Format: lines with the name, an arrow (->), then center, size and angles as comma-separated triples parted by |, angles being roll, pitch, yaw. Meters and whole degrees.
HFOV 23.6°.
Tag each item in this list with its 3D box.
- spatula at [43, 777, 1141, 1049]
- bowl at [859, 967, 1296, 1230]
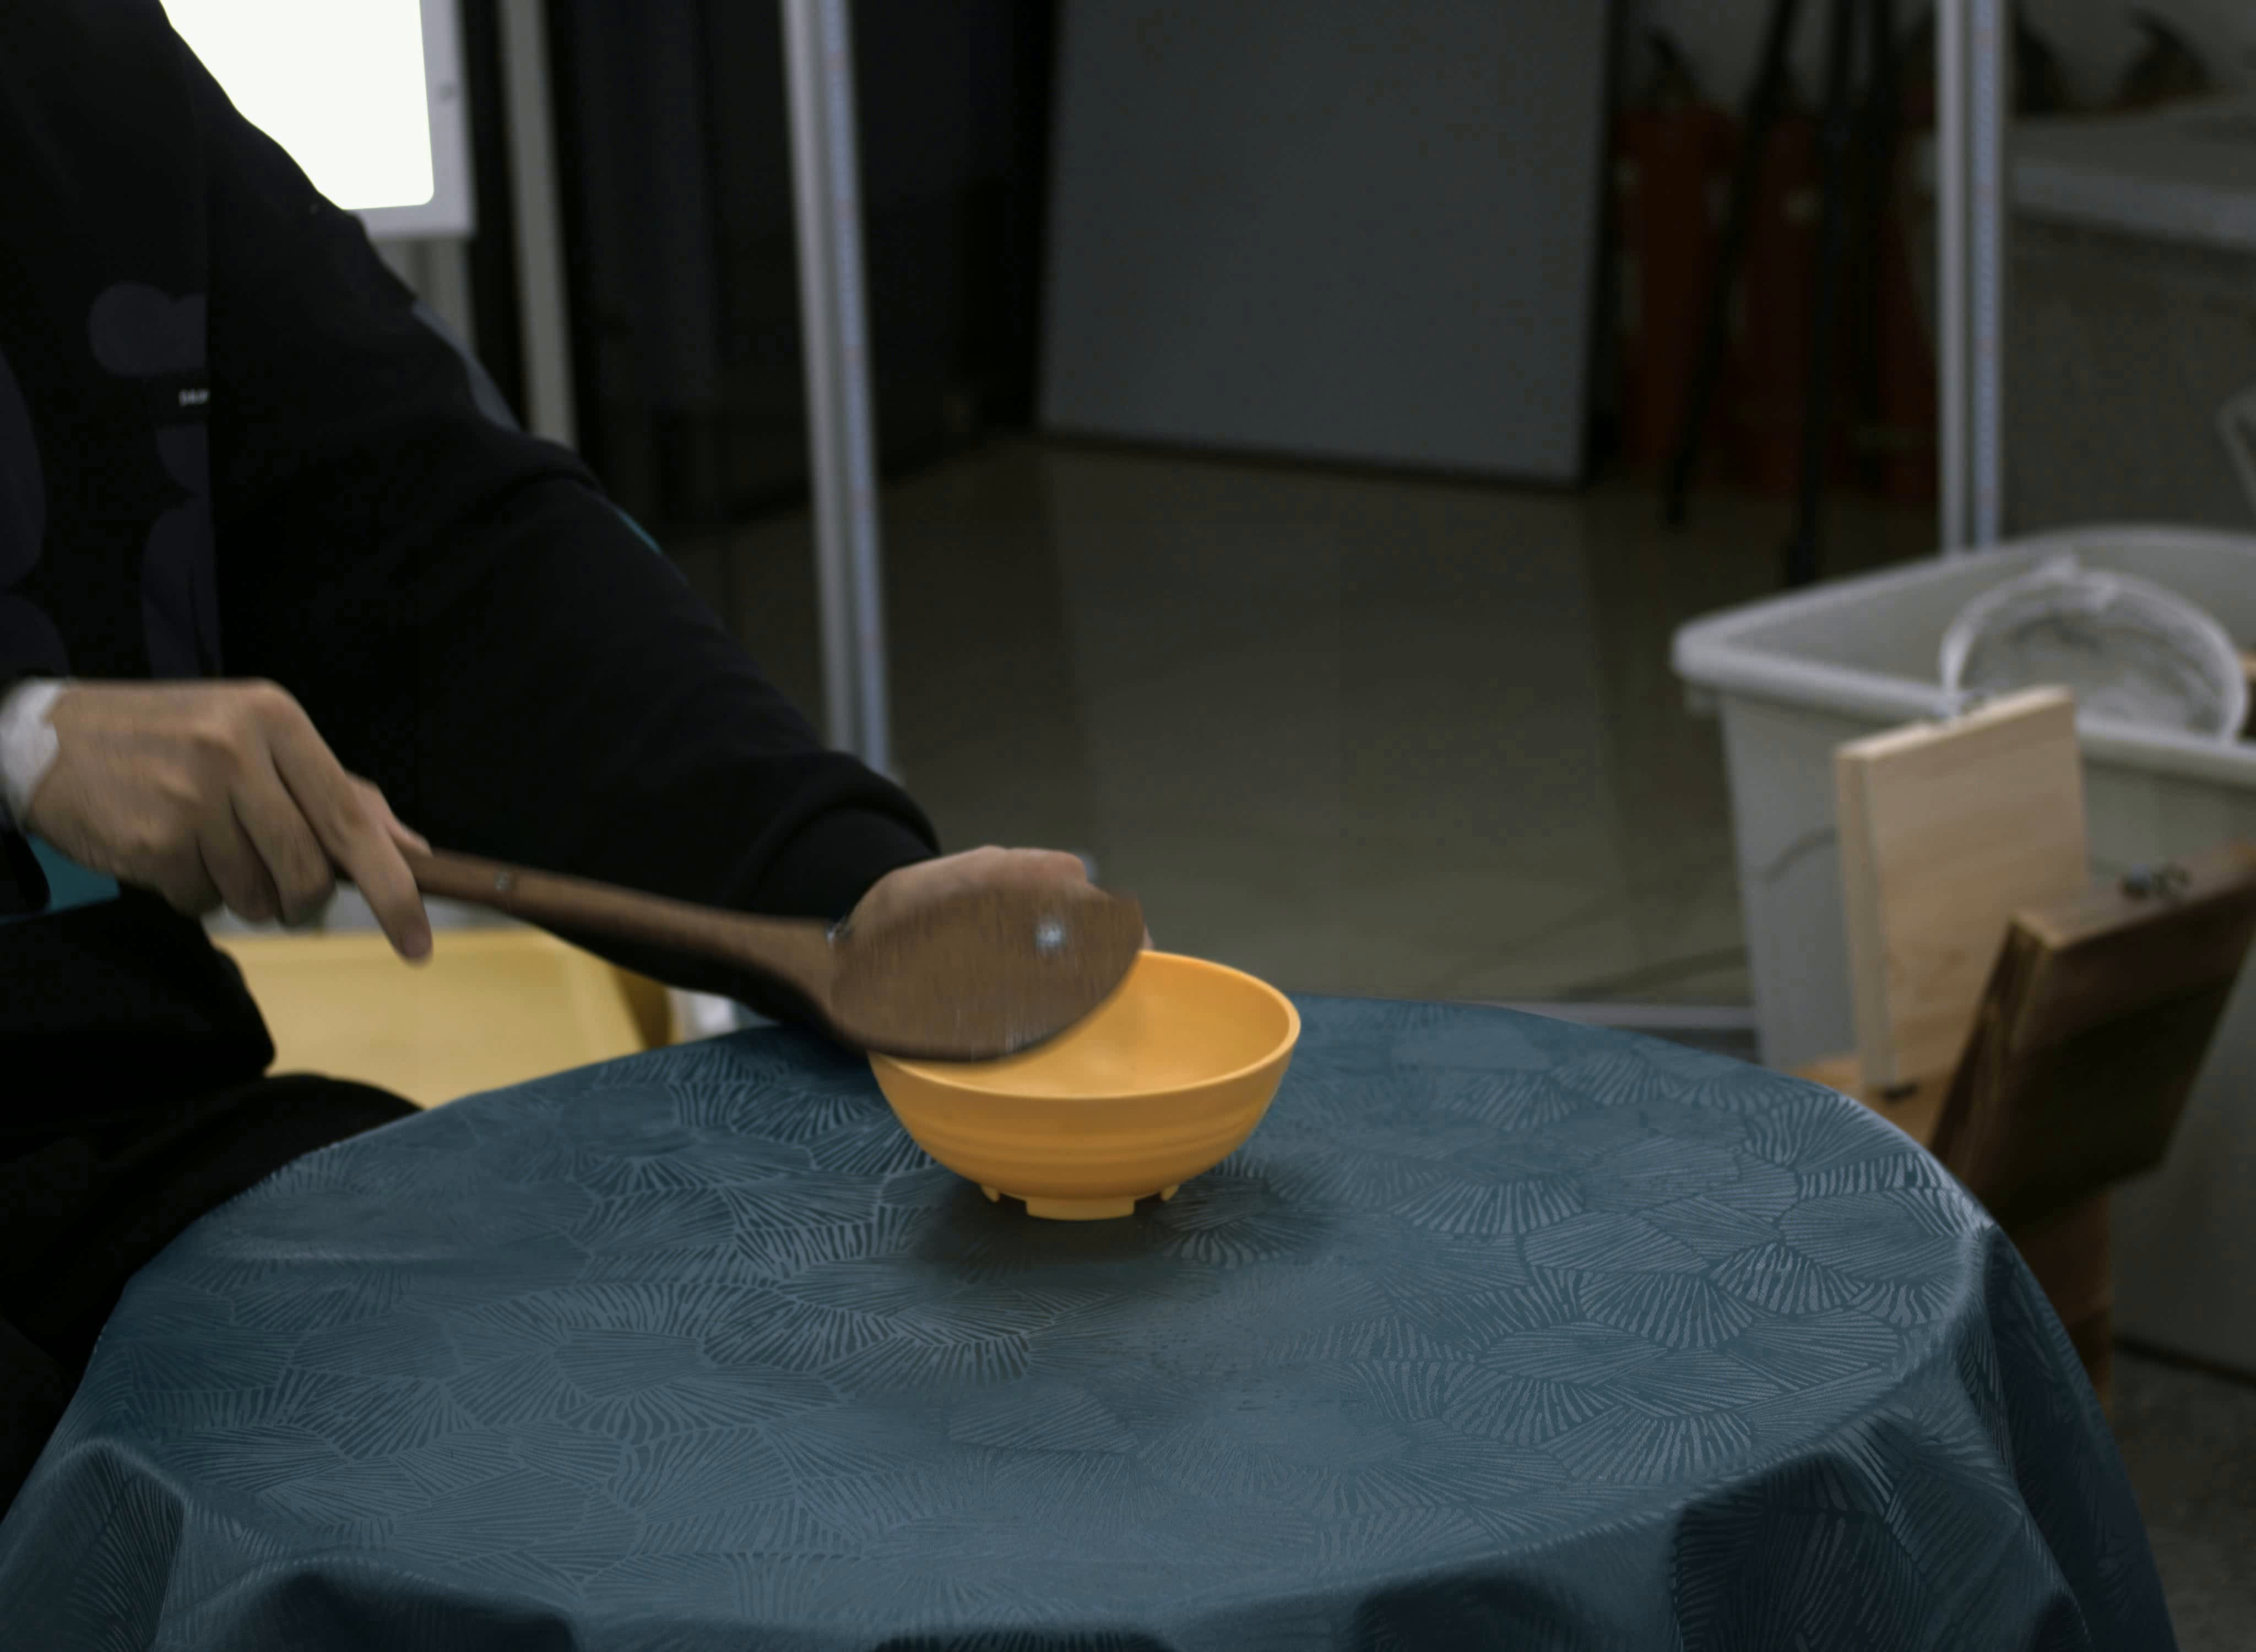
spatula -> -0.177, 0.019, 1.684 | 0.386, 0.016, 0.095 | 9, 35, 24
bowl -> -0.017, 0.093, 1.764 | 0.143, 0.061, 0.145 | 0, 15, -1
